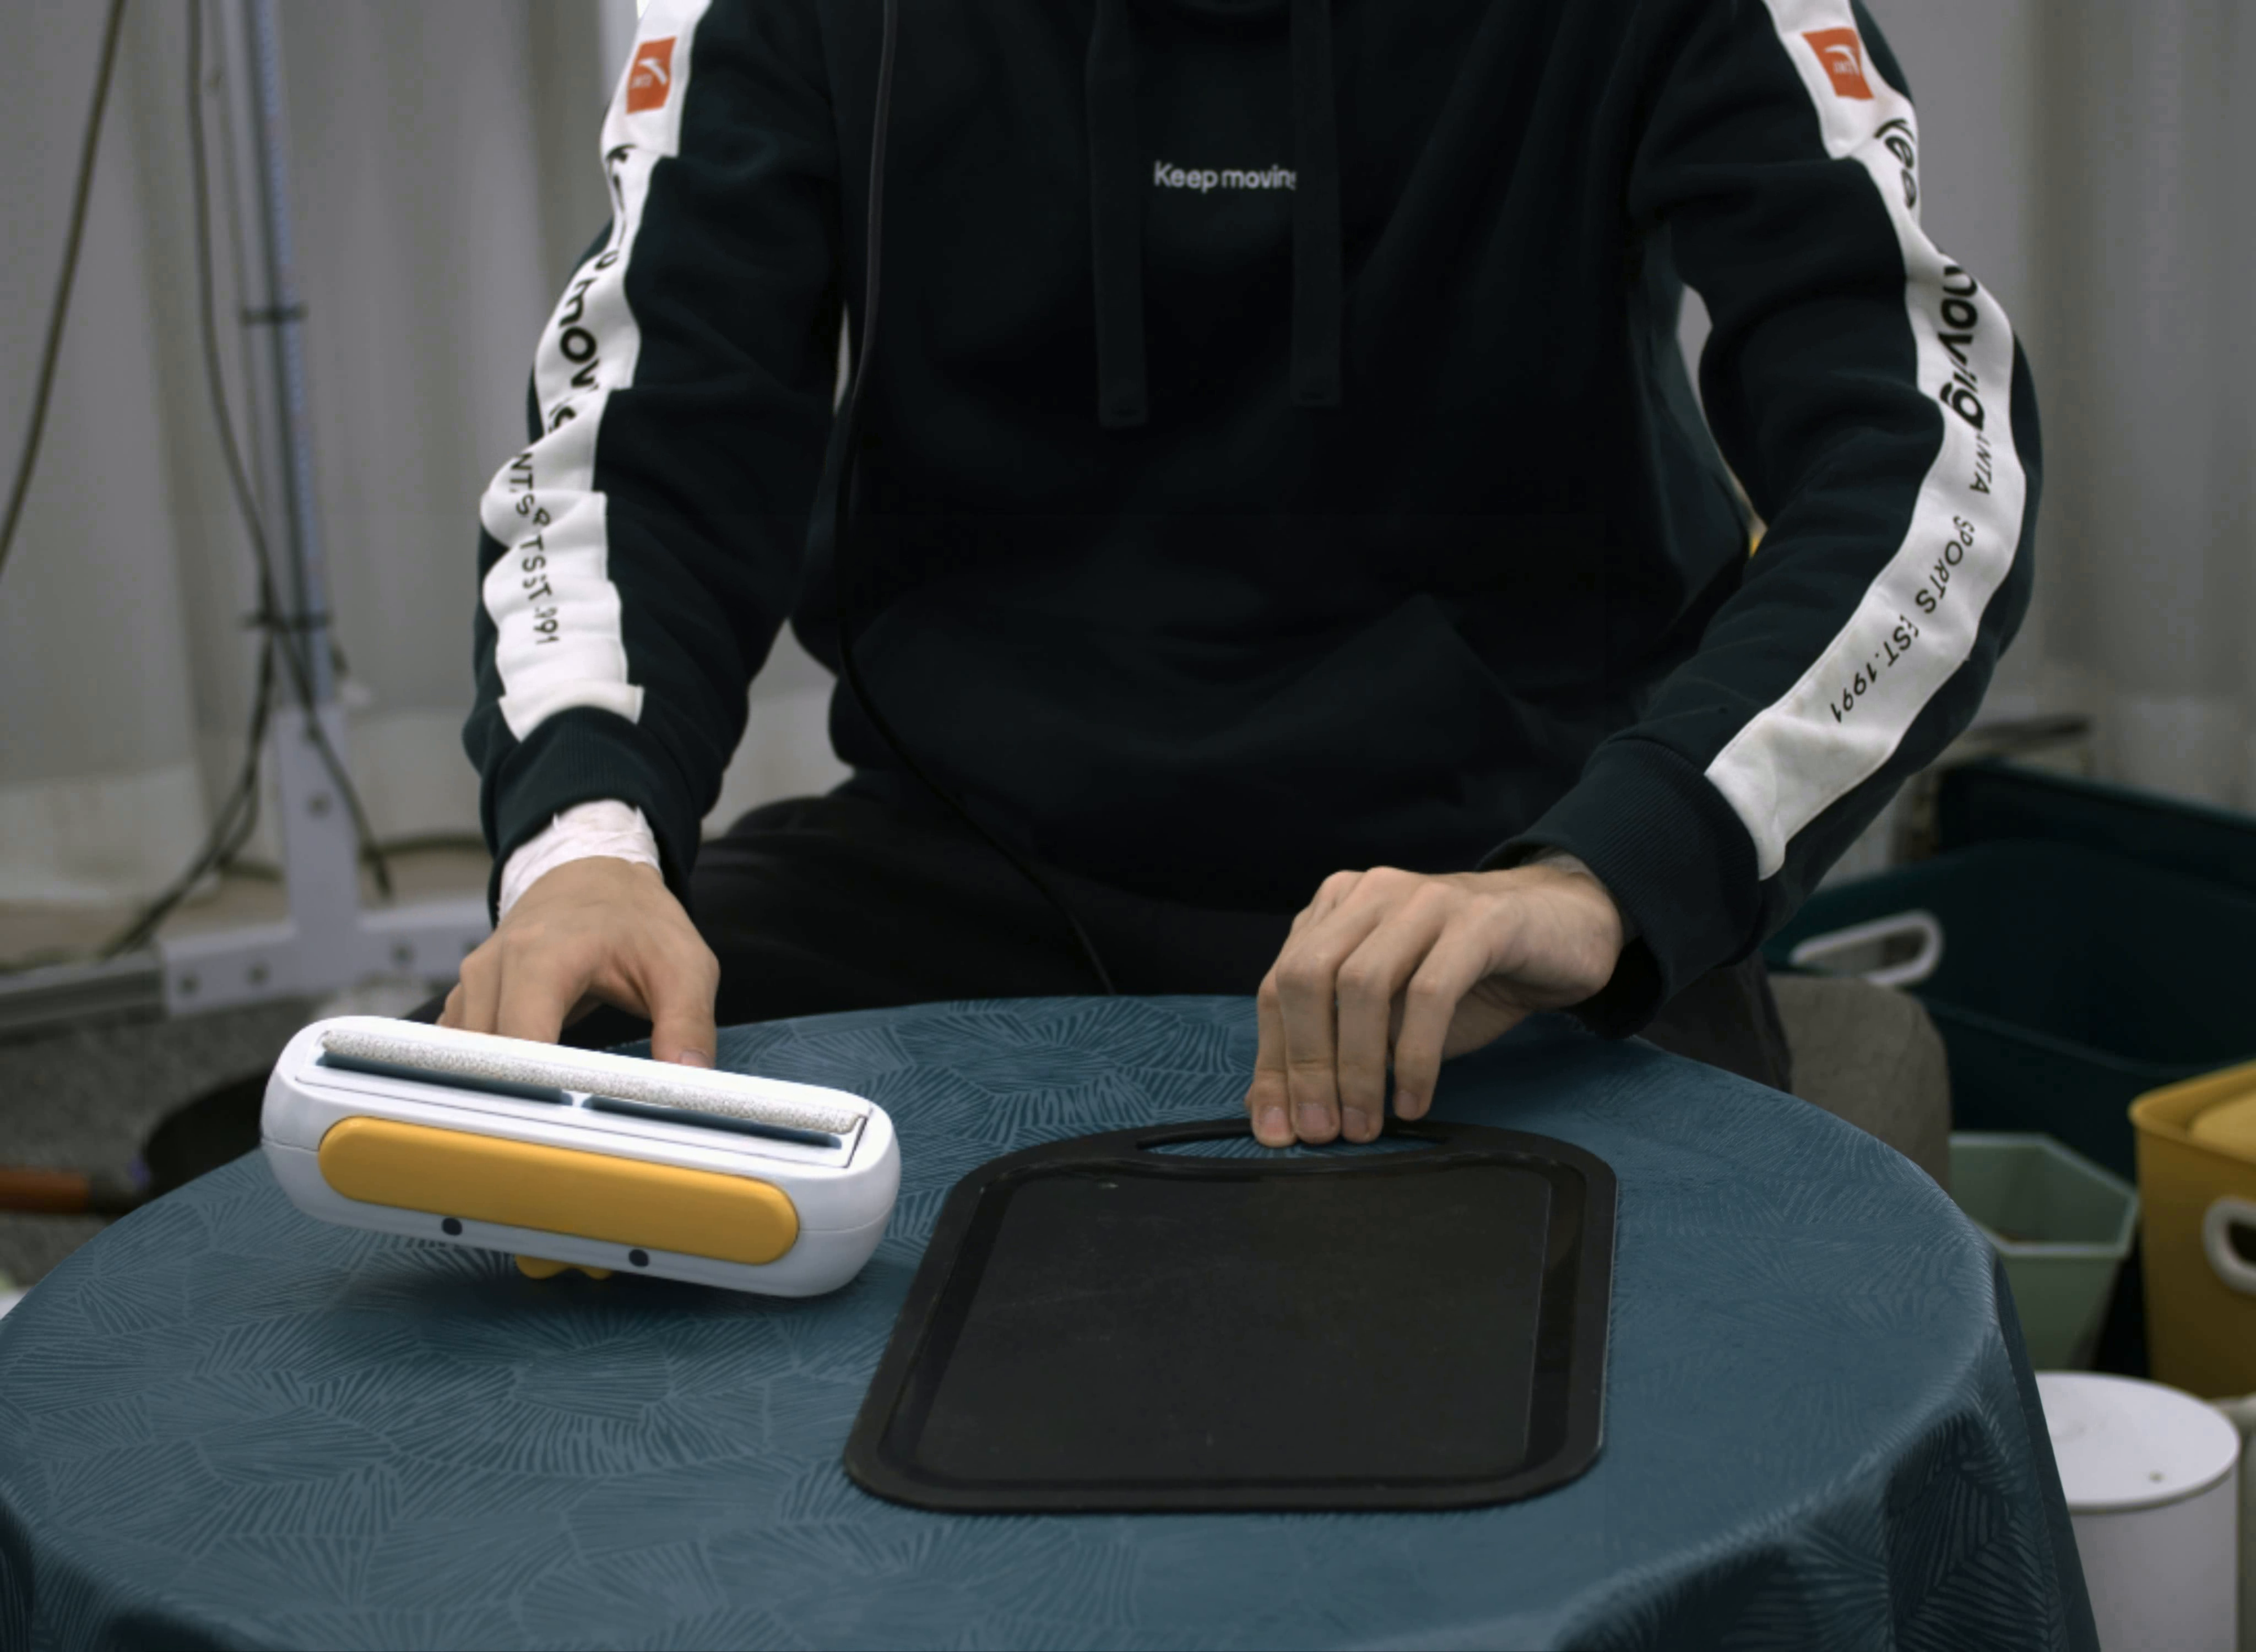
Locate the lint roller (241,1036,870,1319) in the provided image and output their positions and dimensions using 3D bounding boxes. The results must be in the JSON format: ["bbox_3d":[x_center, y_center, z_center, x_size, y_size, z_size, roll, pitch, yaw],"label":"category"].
[{"bbox_3d":[-0.162,0.111,1.704,0.193,0.074,0.192,7,2,12],"label":"lint roller"}]

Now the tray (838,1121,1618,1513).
[{"bbox_3d":[0.036,0.138,1.608,0.210,0.010,0.327,-1,15,7],"label":"tray"}]
